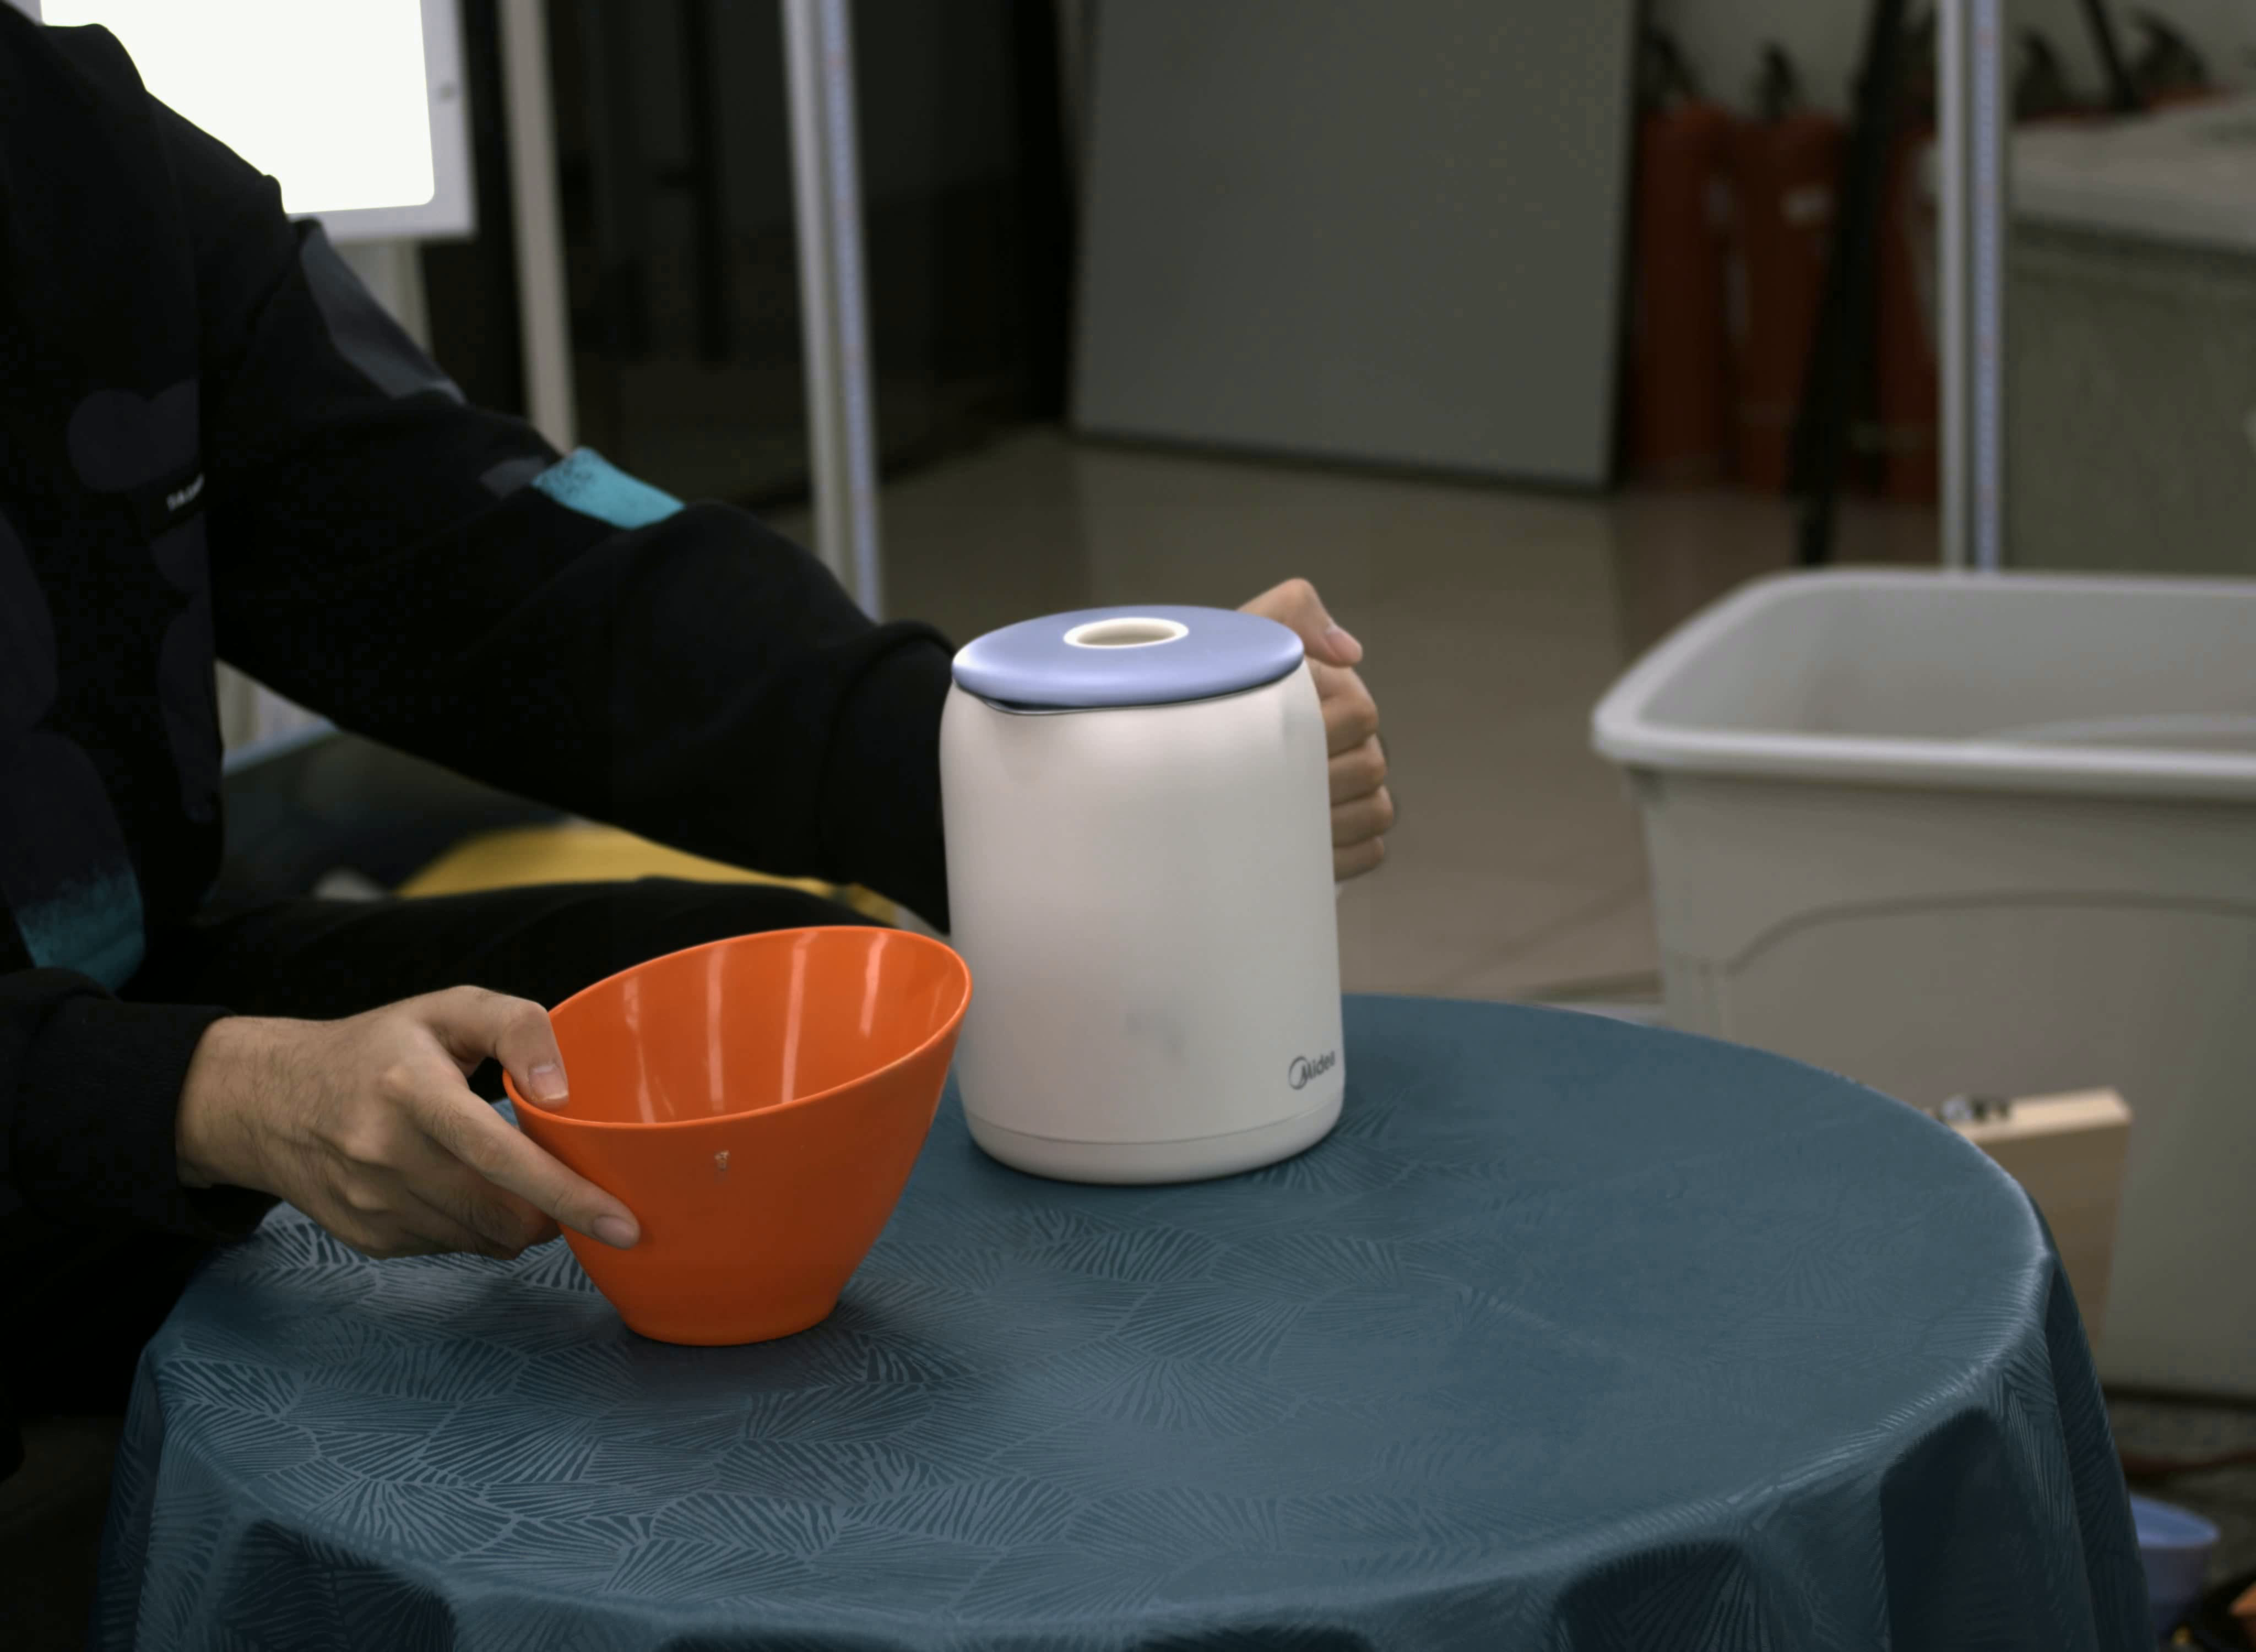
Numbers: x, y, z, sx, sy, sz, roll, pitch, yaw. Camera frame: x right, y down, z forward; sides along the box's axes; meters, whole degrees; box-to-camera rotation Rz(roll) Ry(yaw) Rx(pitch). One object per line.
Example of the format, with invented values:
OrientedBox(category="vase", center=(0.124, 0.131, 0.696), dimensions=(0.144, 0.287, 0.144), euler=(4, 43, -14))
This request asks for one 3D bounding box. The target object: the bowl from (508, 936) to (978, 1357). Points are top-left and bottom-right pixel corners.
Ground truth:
OrientedBox(category="bowl", center=(-0.116, 0.102, 1.673), dimensions=(0.146, 0.106, 0.148), euler=(-3, 13, 0))

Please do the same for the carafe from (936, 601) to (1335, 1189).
OrientedBox(category="carafe", center=(0.015, 0.017, 1.831), dimensions=(0.133, 0.184, 0.188), euler=(6, 14, 31))
